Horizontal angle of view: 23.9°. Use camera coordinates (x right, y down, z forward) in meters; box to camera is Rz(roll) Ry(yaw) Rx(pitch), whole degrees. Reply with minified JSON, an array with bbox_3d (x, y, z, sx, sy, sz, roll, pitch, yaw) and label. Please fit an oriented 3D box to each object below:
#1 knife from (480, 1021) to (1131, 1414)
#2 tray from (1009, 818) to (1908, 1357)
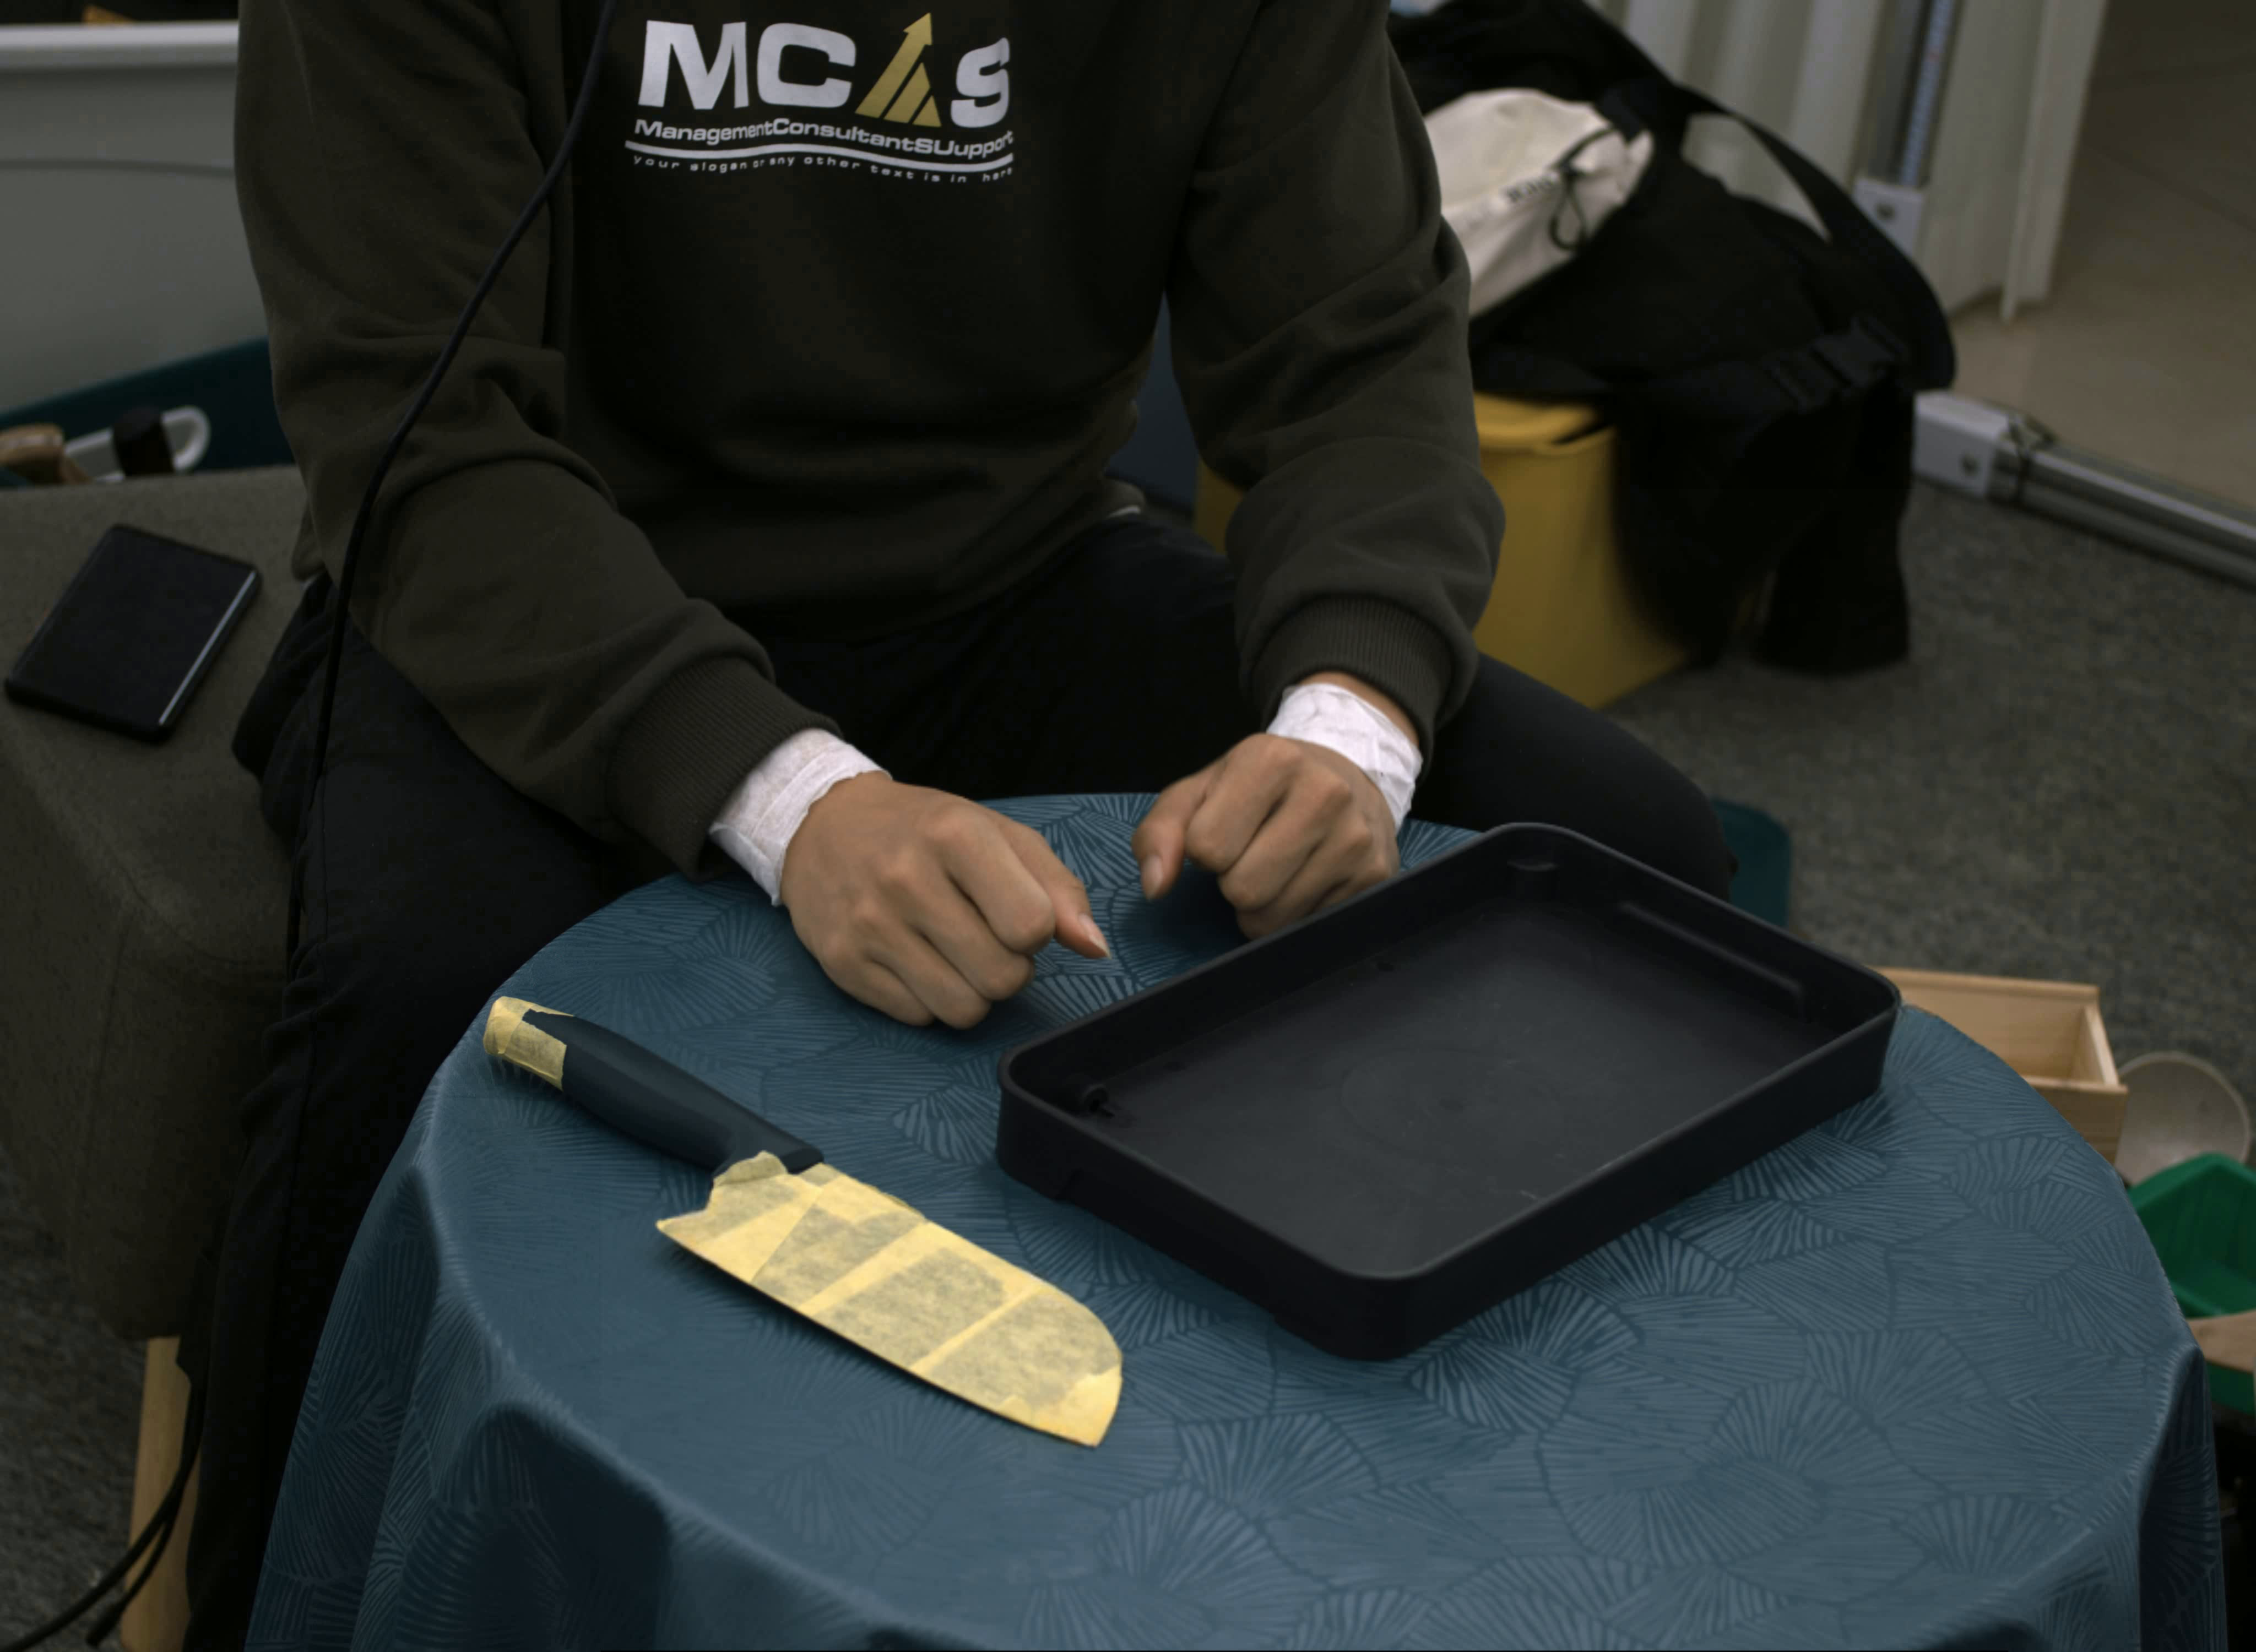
[{"bbox_3d":[-0.114,0.130,1.751,0.291,0.027,0.080,26,31,32],"label":"knife"},{"bbox_3d":[0.119,0.085,1.870,0.185,0.037,0.316,25,32,33],"label":"tray"}]
